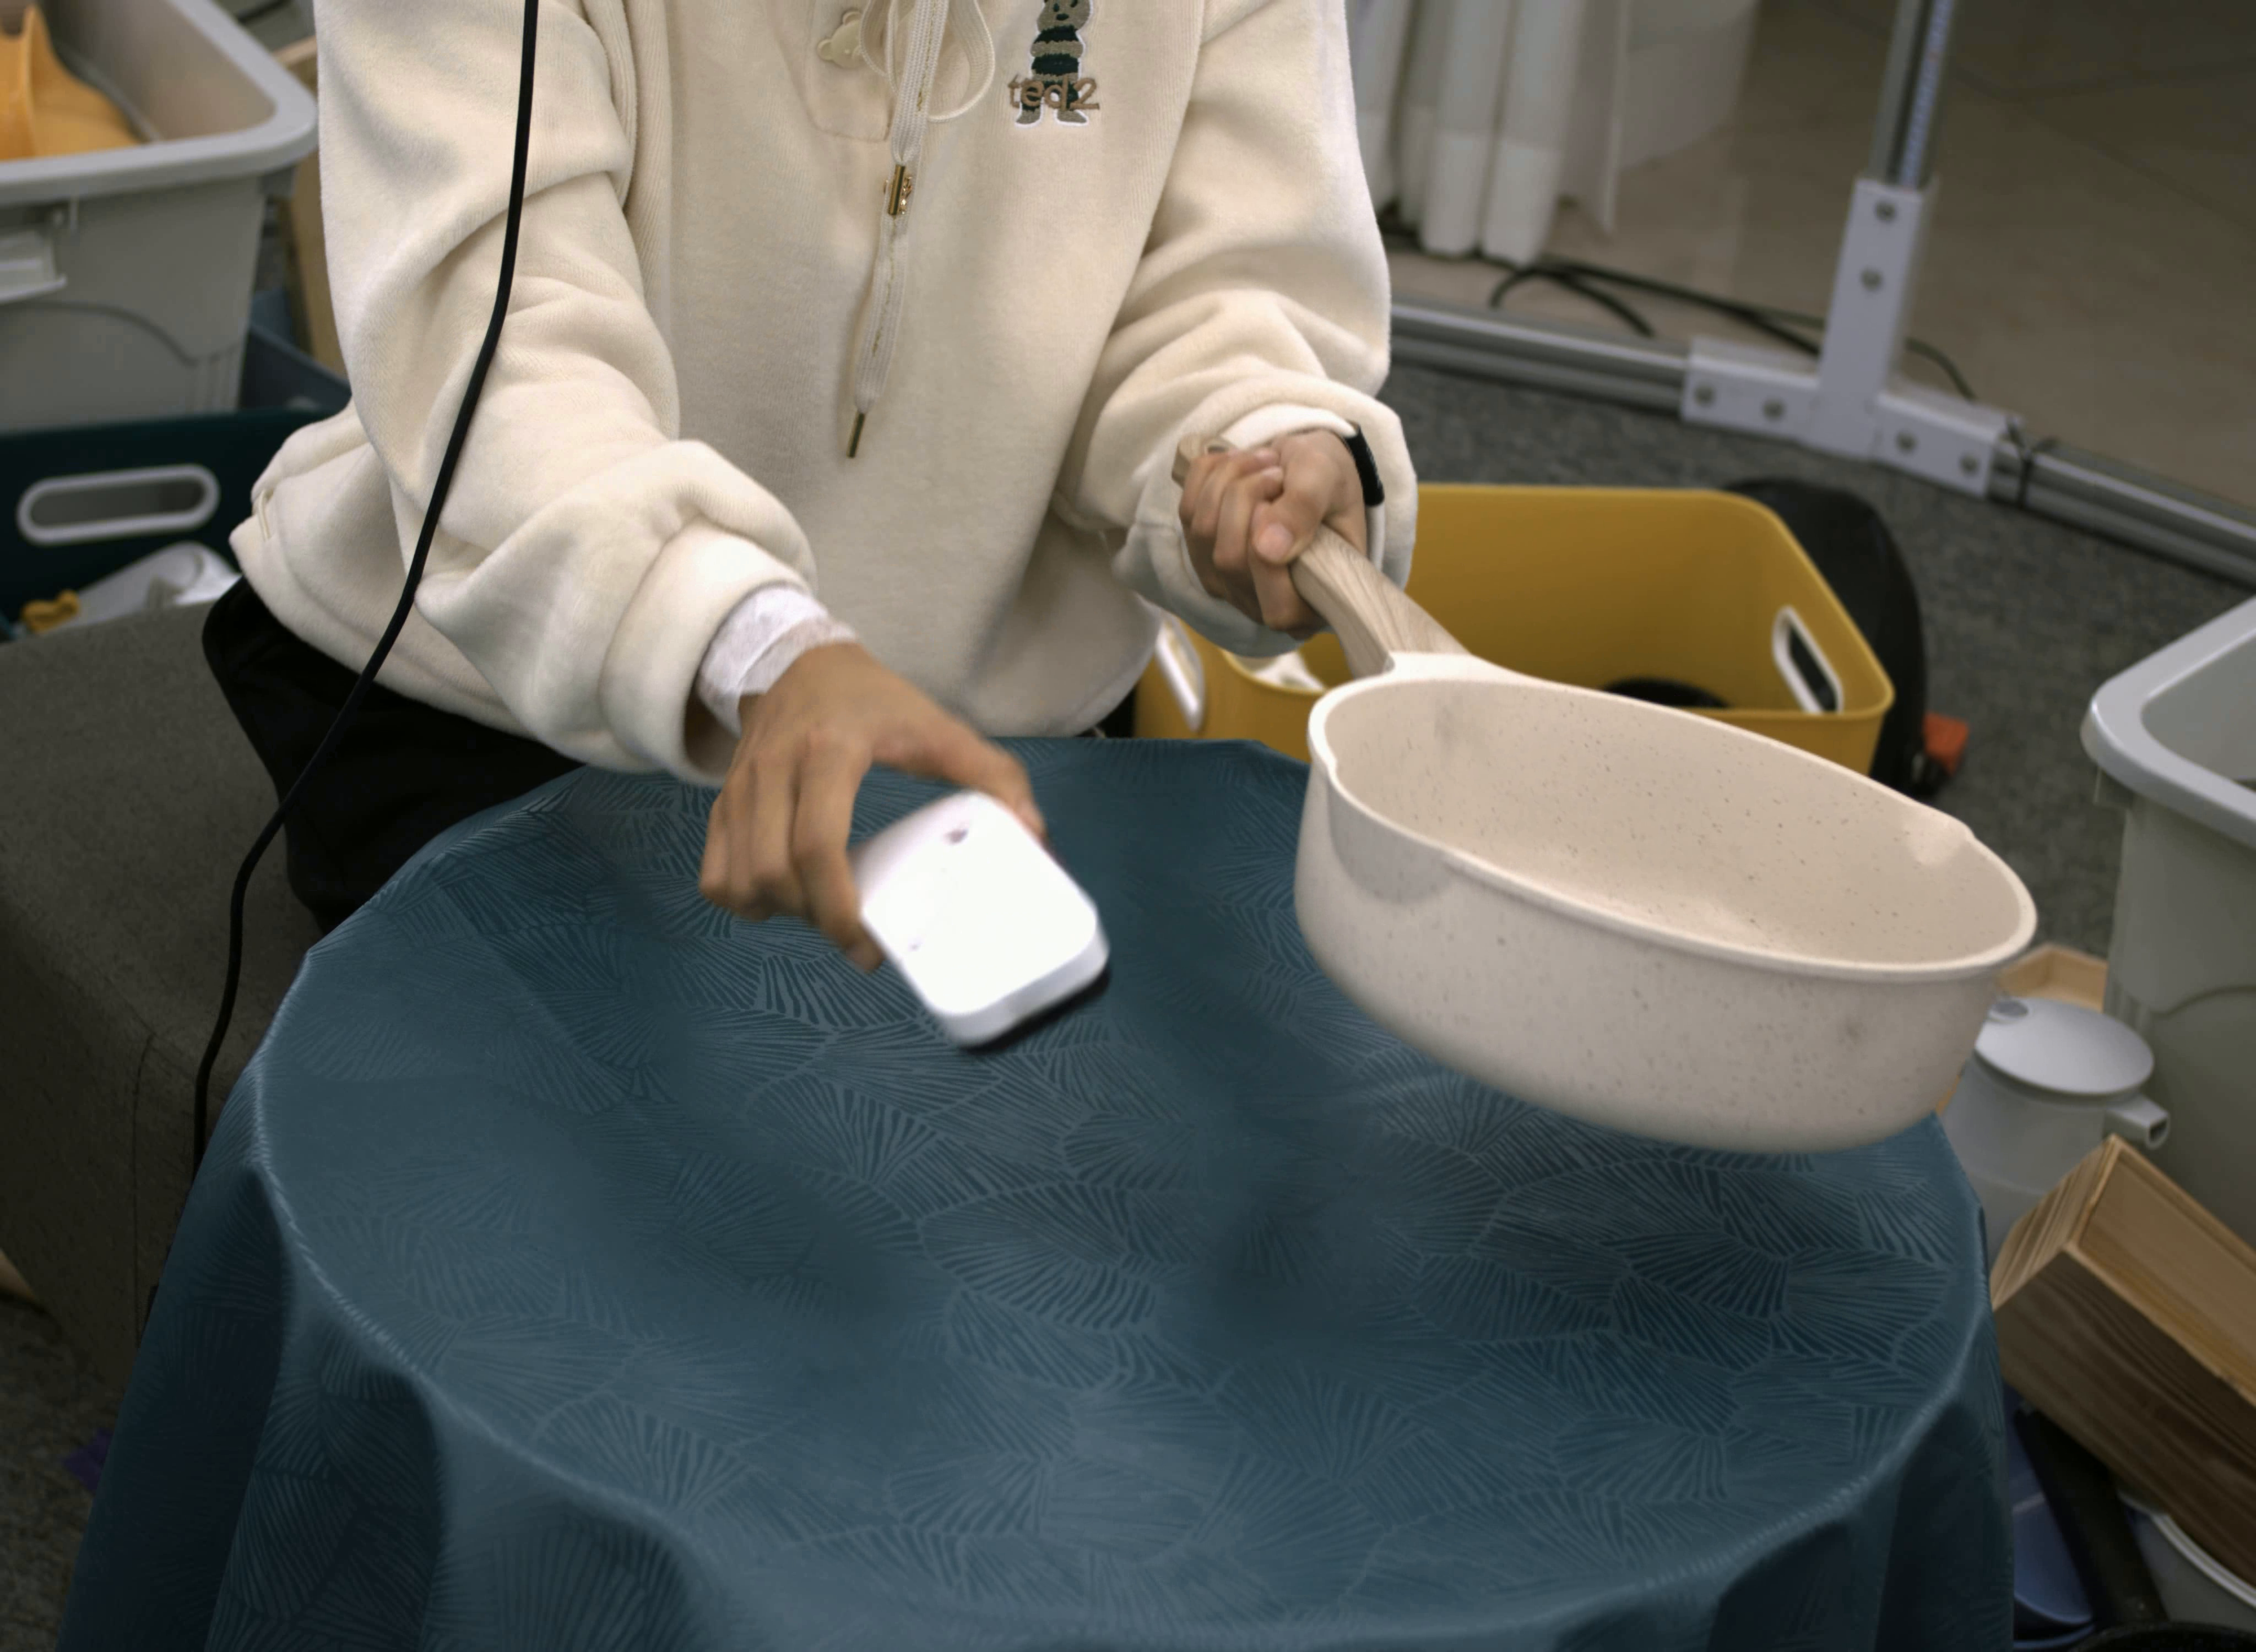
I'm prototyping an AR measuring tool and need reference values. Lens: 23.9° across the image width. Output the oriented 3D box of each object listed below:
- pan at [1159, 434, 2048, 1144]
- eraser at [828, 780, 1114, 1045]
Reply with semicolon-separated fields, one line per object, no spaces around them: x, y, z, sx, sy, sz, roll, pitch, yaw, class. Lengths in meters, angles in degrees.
0.128;-0.014;1.851;0.261;0.102;0.439;0;23;-35;pan
-0.050;0.024;1.728;0.063;0.034;0.132;-29;29;-9;eraser
